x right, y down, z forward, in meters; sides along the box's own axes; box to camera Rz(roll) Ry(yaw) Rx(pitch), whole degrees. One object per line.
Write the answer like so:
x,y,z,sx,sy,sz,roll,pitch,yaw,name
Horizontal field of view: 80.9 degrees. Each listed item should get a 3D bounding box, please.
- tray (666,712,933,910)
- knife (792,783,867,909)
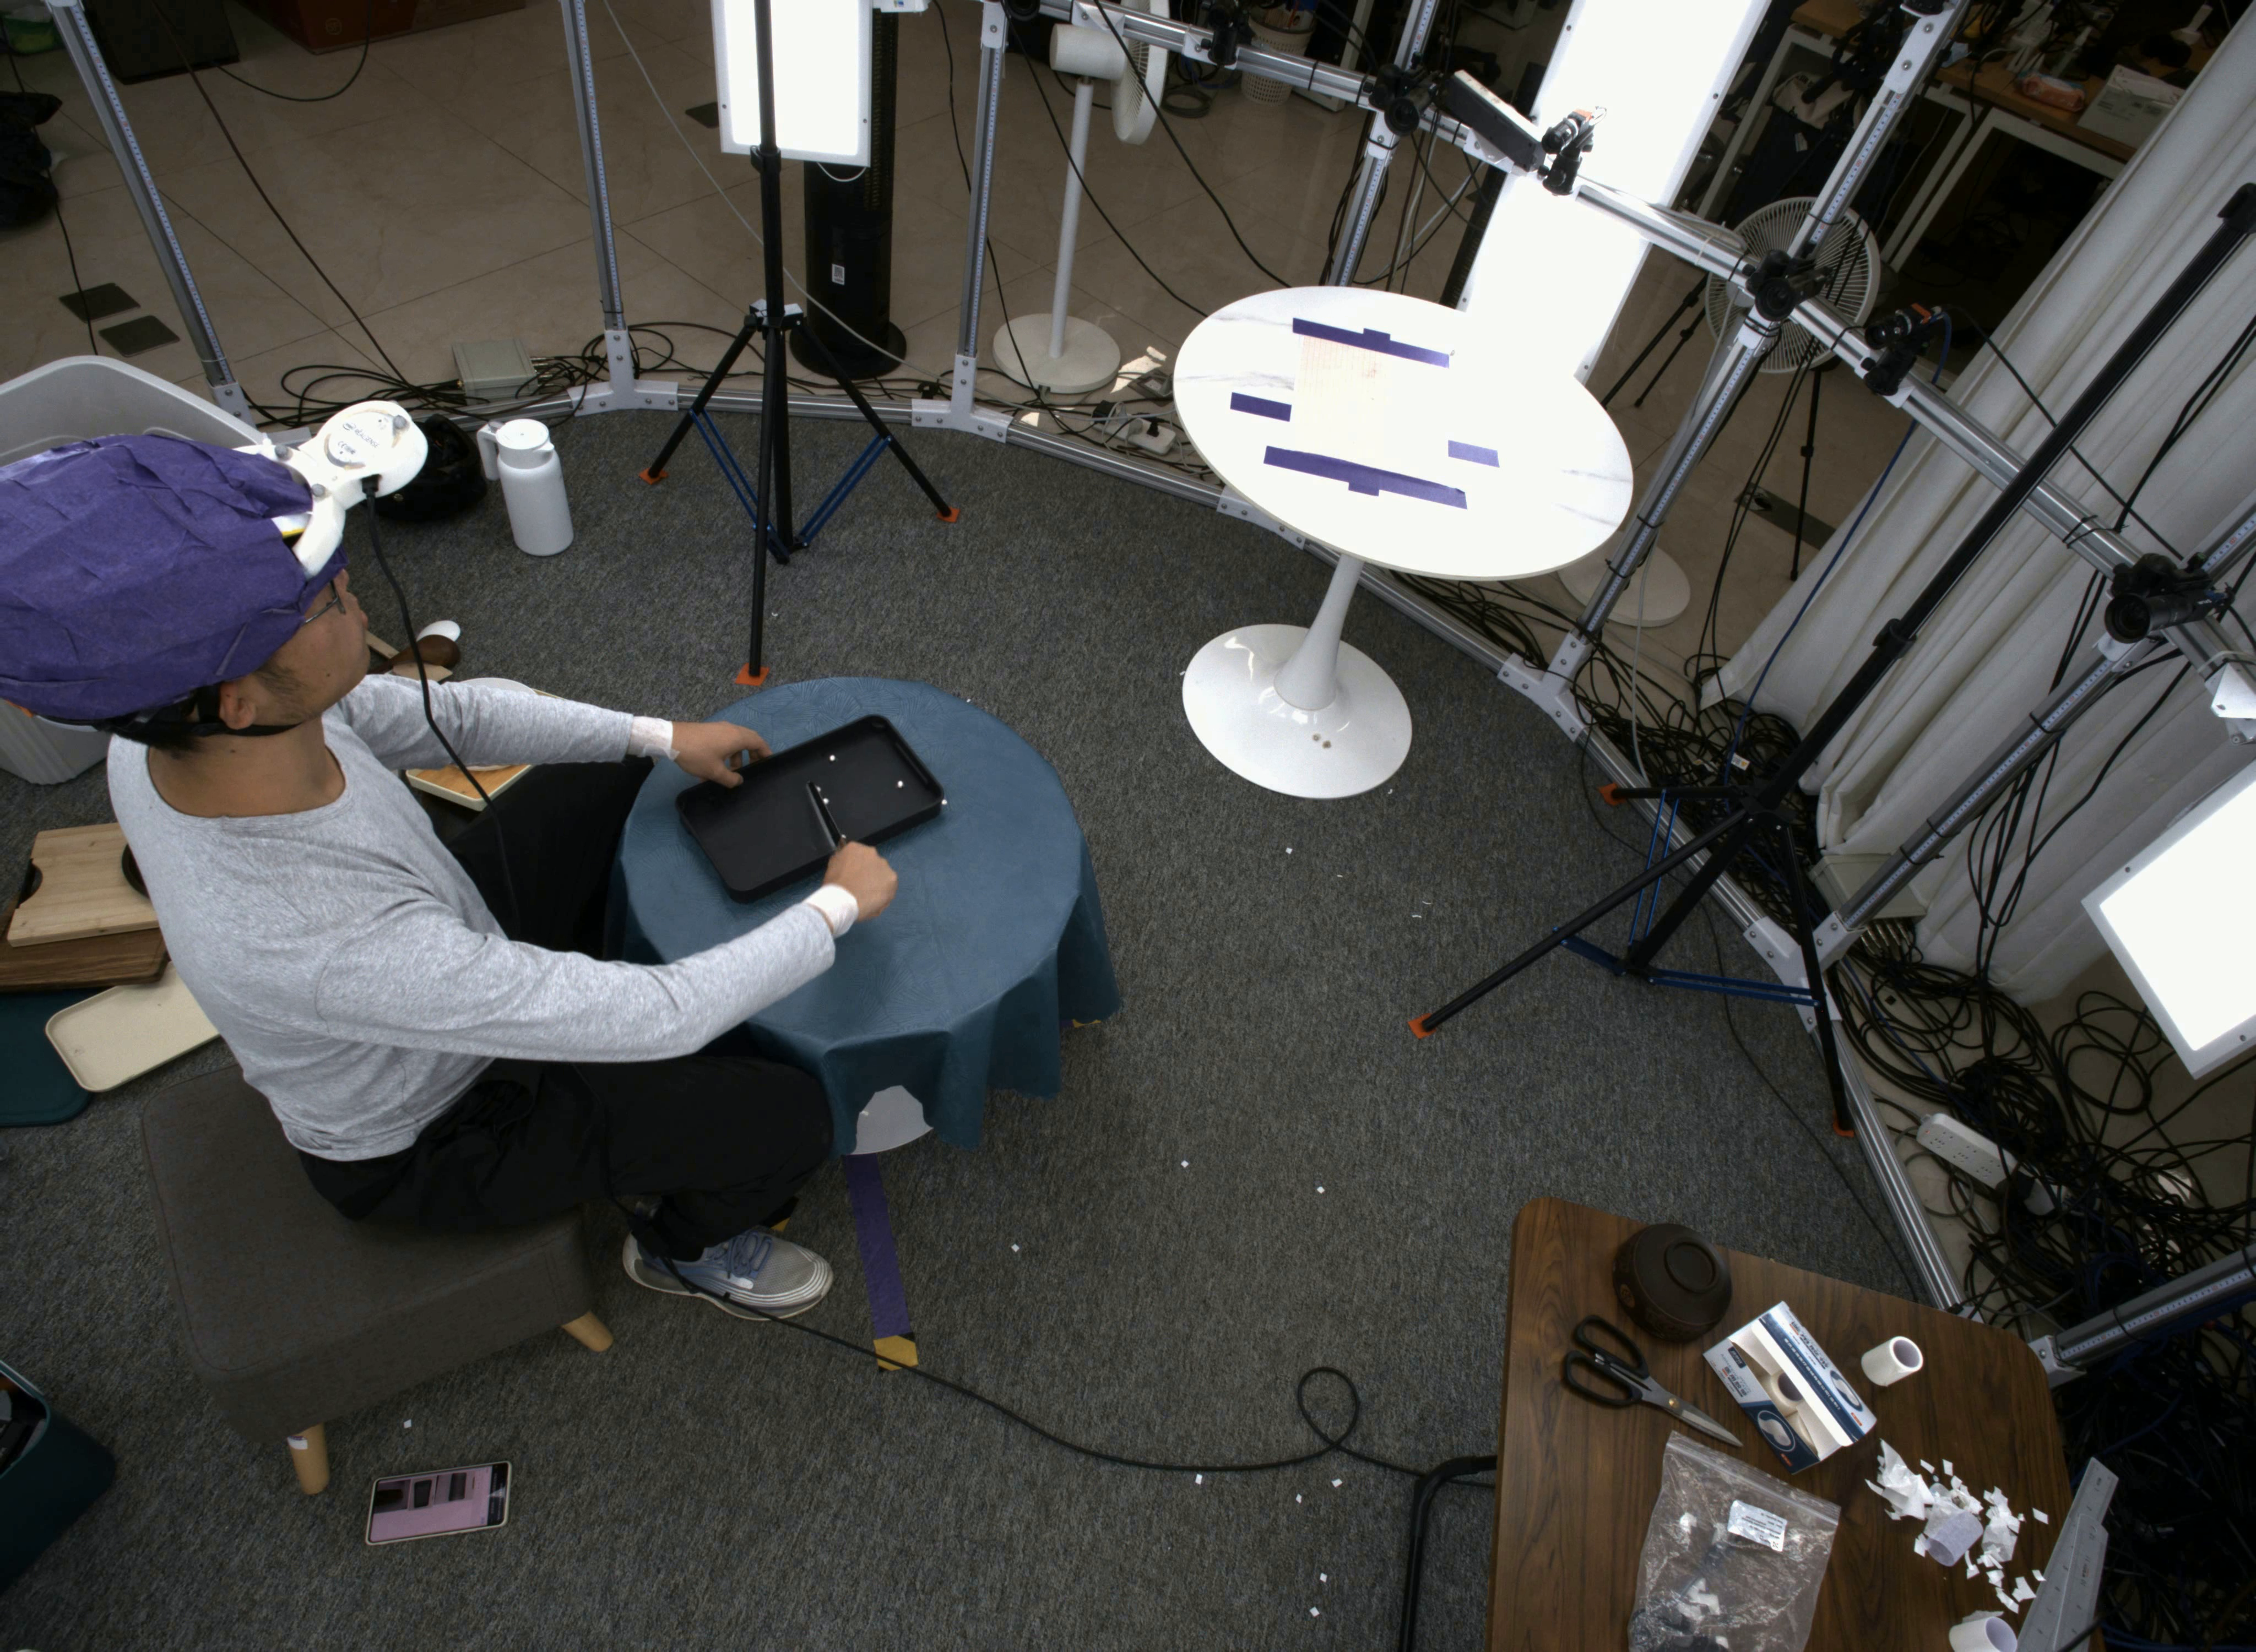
-0.435,-0.028,1.730,0.319,0.038,0.180,-31,66,-30,tray
-0.387,0.019,1.650,0.020,0.051,0.278,-11,37,-28,knife
